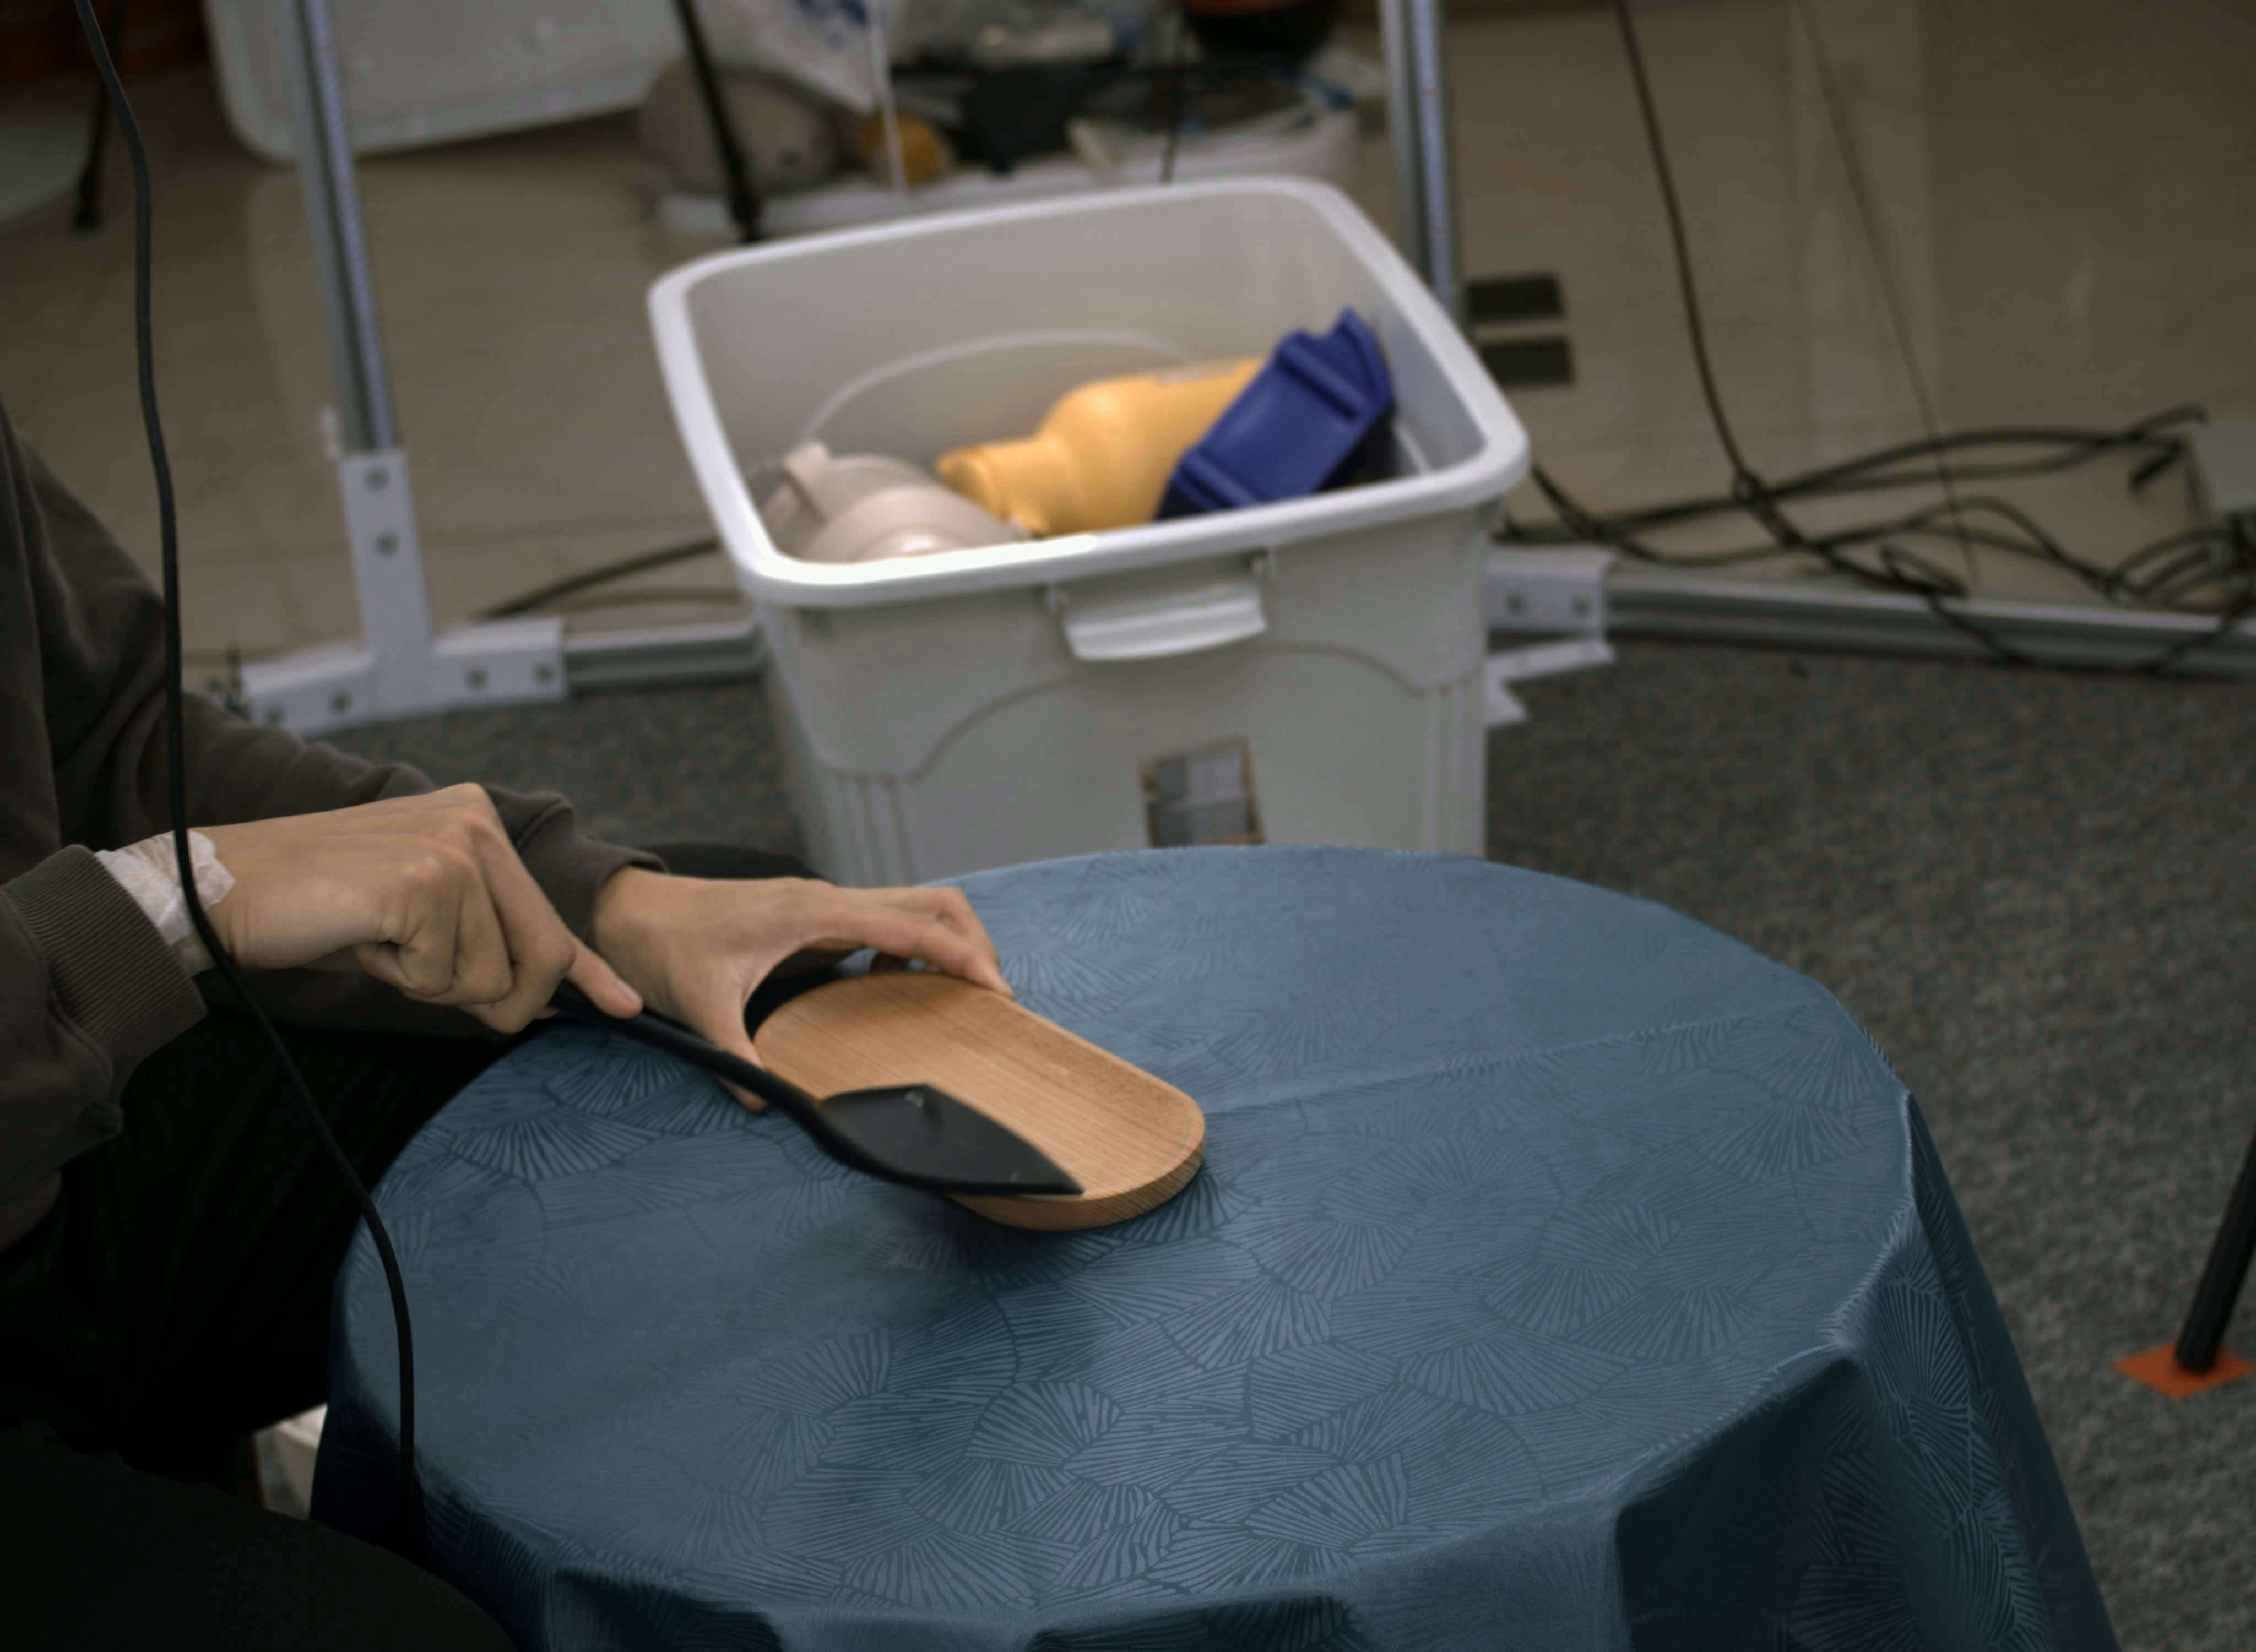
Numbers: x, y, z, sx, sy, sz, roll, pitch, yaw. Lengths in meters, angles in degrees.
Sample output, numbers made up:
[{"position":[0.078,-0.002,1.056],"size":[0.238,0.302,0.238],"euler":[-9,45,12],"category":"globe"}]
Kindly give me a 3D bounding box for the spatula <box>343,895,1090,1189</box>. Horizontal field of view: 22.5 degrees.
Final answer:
[{"position":[-0.151,0.073,2.031],"size":[0.329,0.040,0.098],"euler":[29,1,-41],"category":"spatula"}]

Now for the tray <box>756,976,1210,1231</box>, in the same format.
[{"position":[-0.058,0.107,2.209],"size":[0.101,0.020,0.229],"euler":[-24,32,-30],"category":"tray"}]
